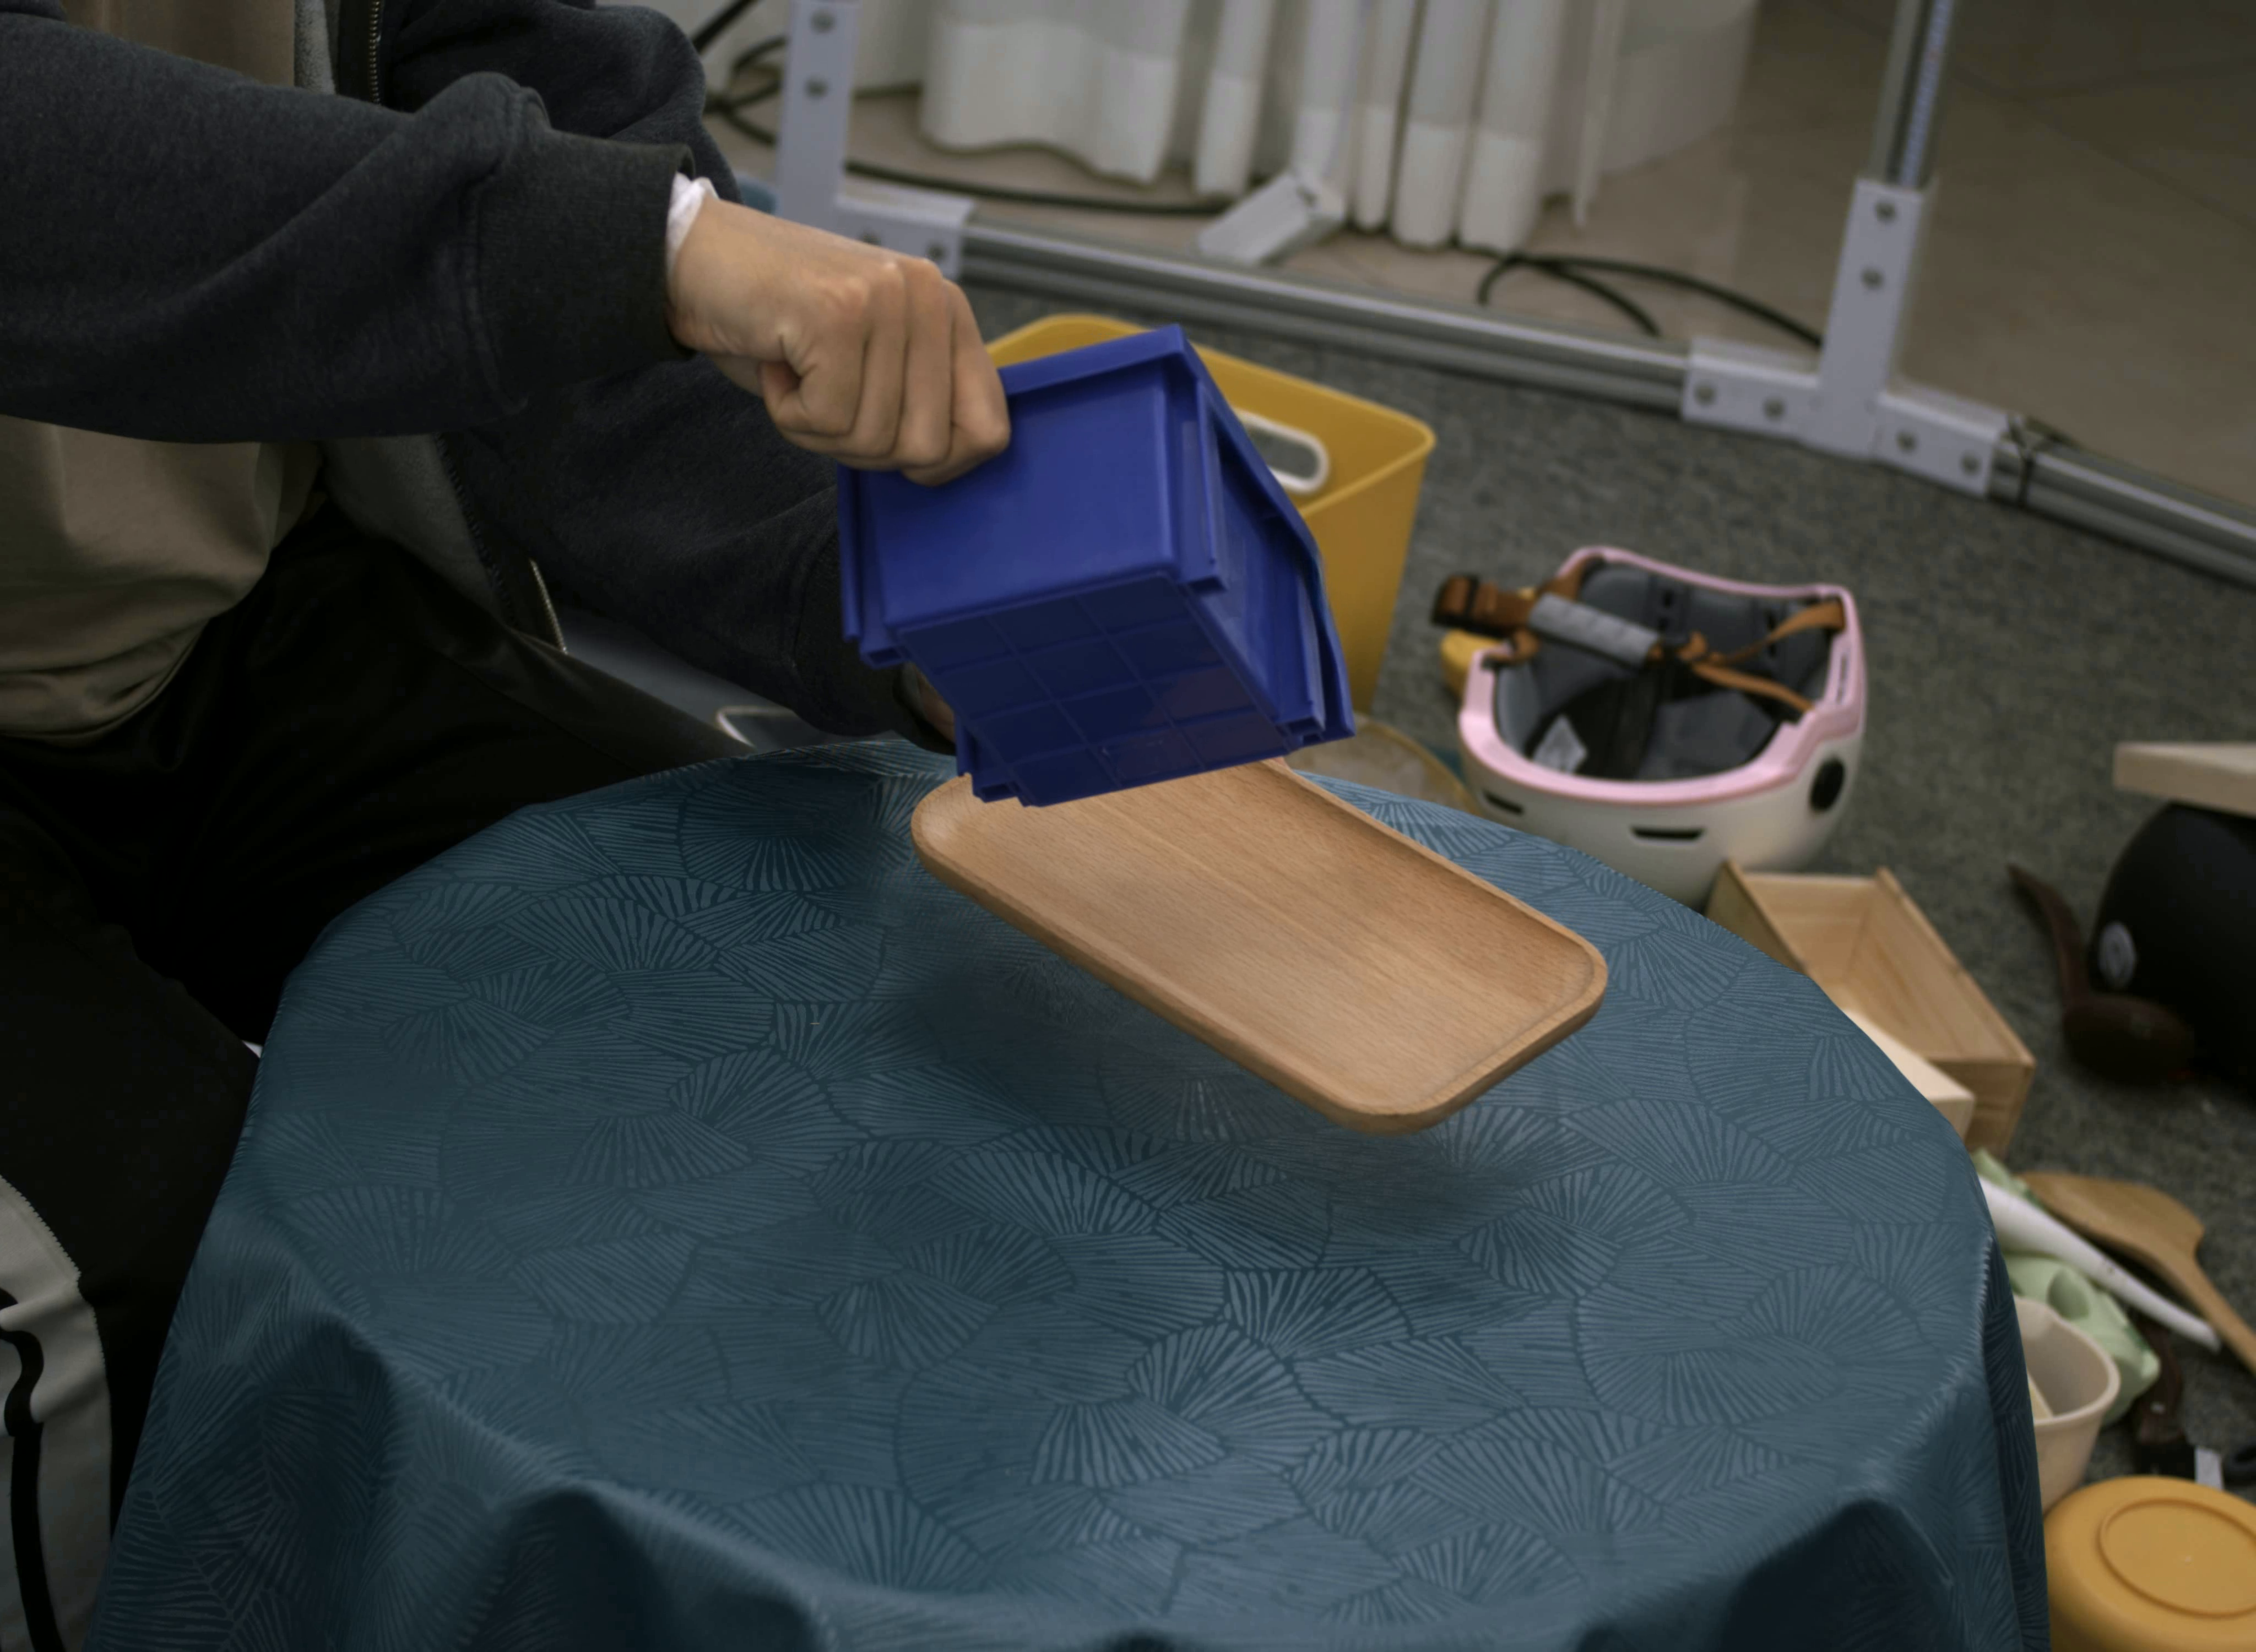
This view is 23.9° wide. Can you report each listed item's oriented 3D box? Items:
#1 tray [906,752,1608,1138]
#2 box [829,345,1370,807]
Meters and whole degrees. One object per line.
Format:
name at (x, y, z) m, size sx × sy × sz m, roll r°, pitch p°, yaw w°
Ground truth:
tray at (0.042, 0.029, 1.854) m, size 0.130 × 0.023 × 0.252 m, roll -28°, pitch 43°, yaw -35°
box at (-0.008, -0.072, 1.752) m, size 0.124 × 0.178 × 0.082 m, roll -13°, pitch 65°, yaw 18°
